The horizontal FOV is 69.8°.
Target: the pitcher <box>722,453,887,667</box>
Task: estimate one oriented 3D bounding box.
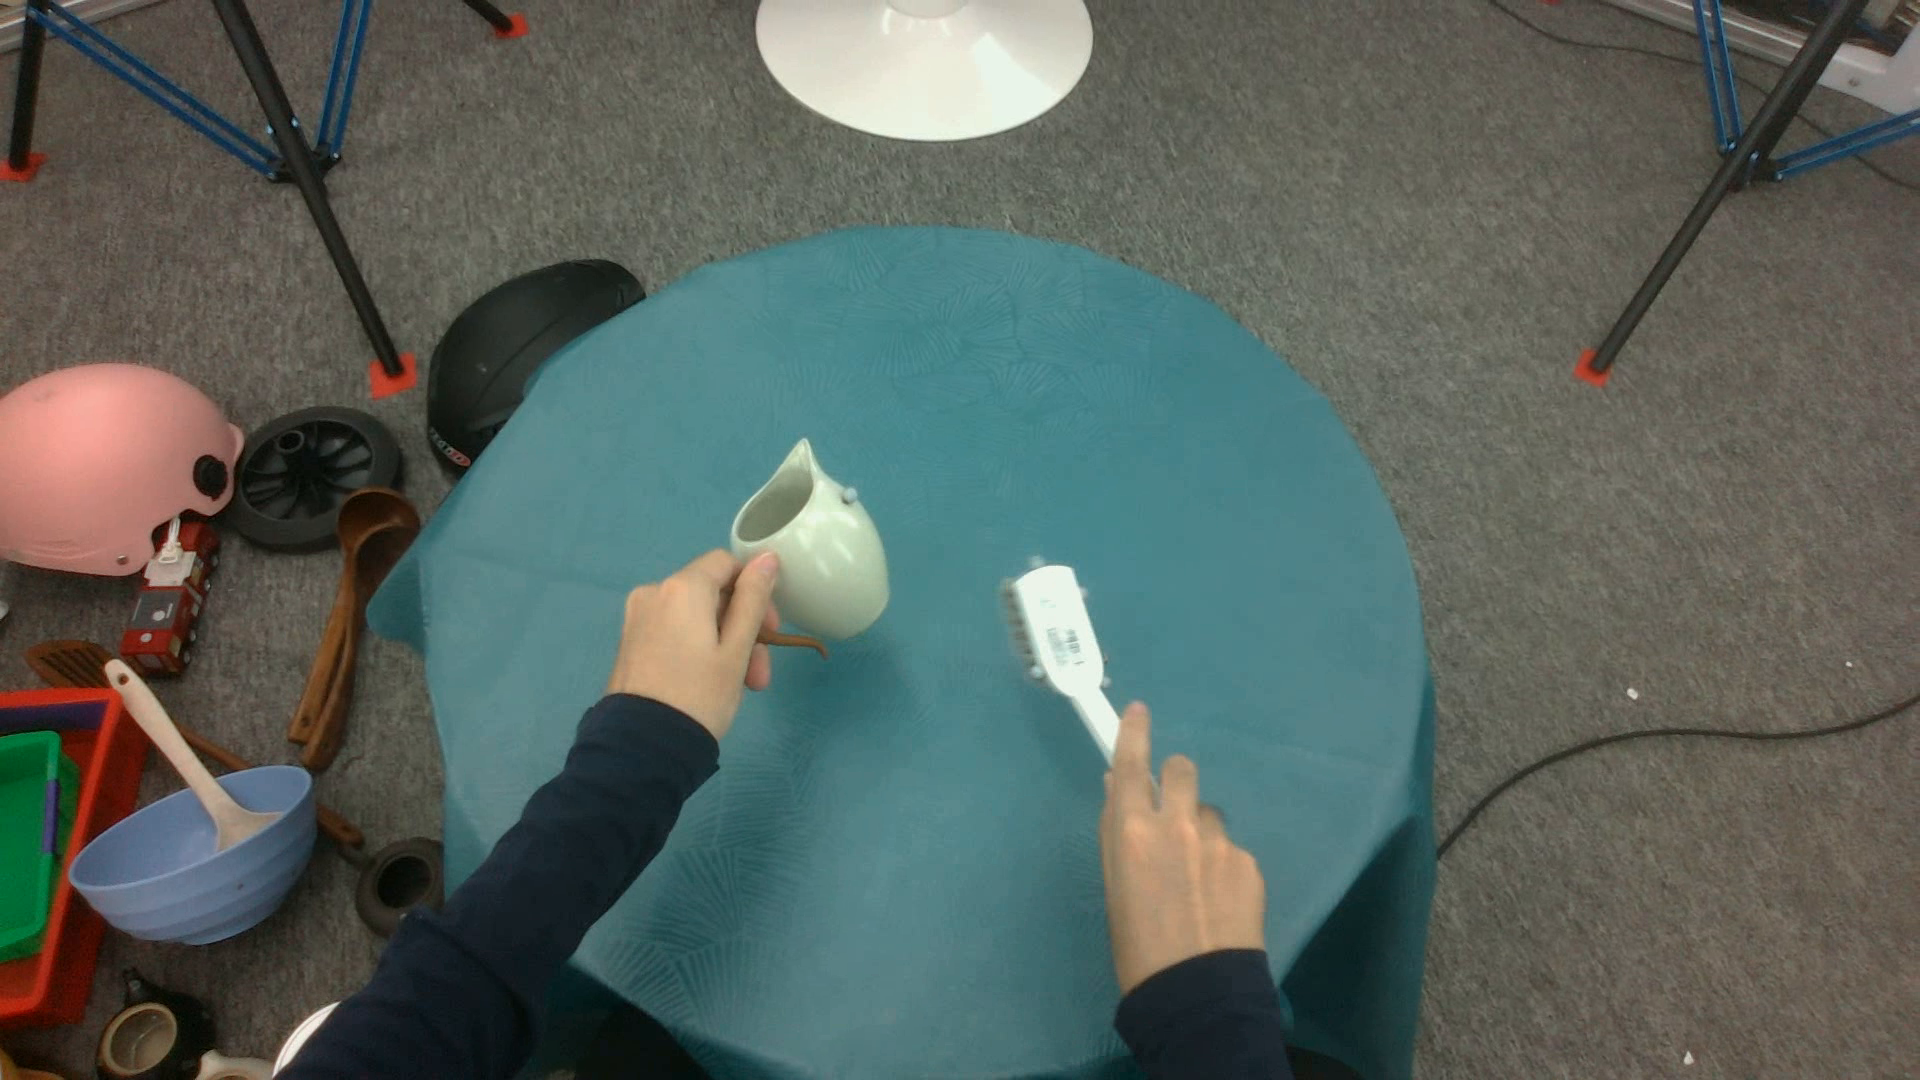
[{"bbox_3d":[-0.085,0.021,0.758,0.075,0.087,0.120,-13,32,37],"label":"pitcher"}]

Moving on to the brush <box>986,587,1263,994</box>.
[{"bbox_3d":[0.080,0.128,0.722,0.034,0.050,0.244,-15,62,-27],"label":"brush"}]
